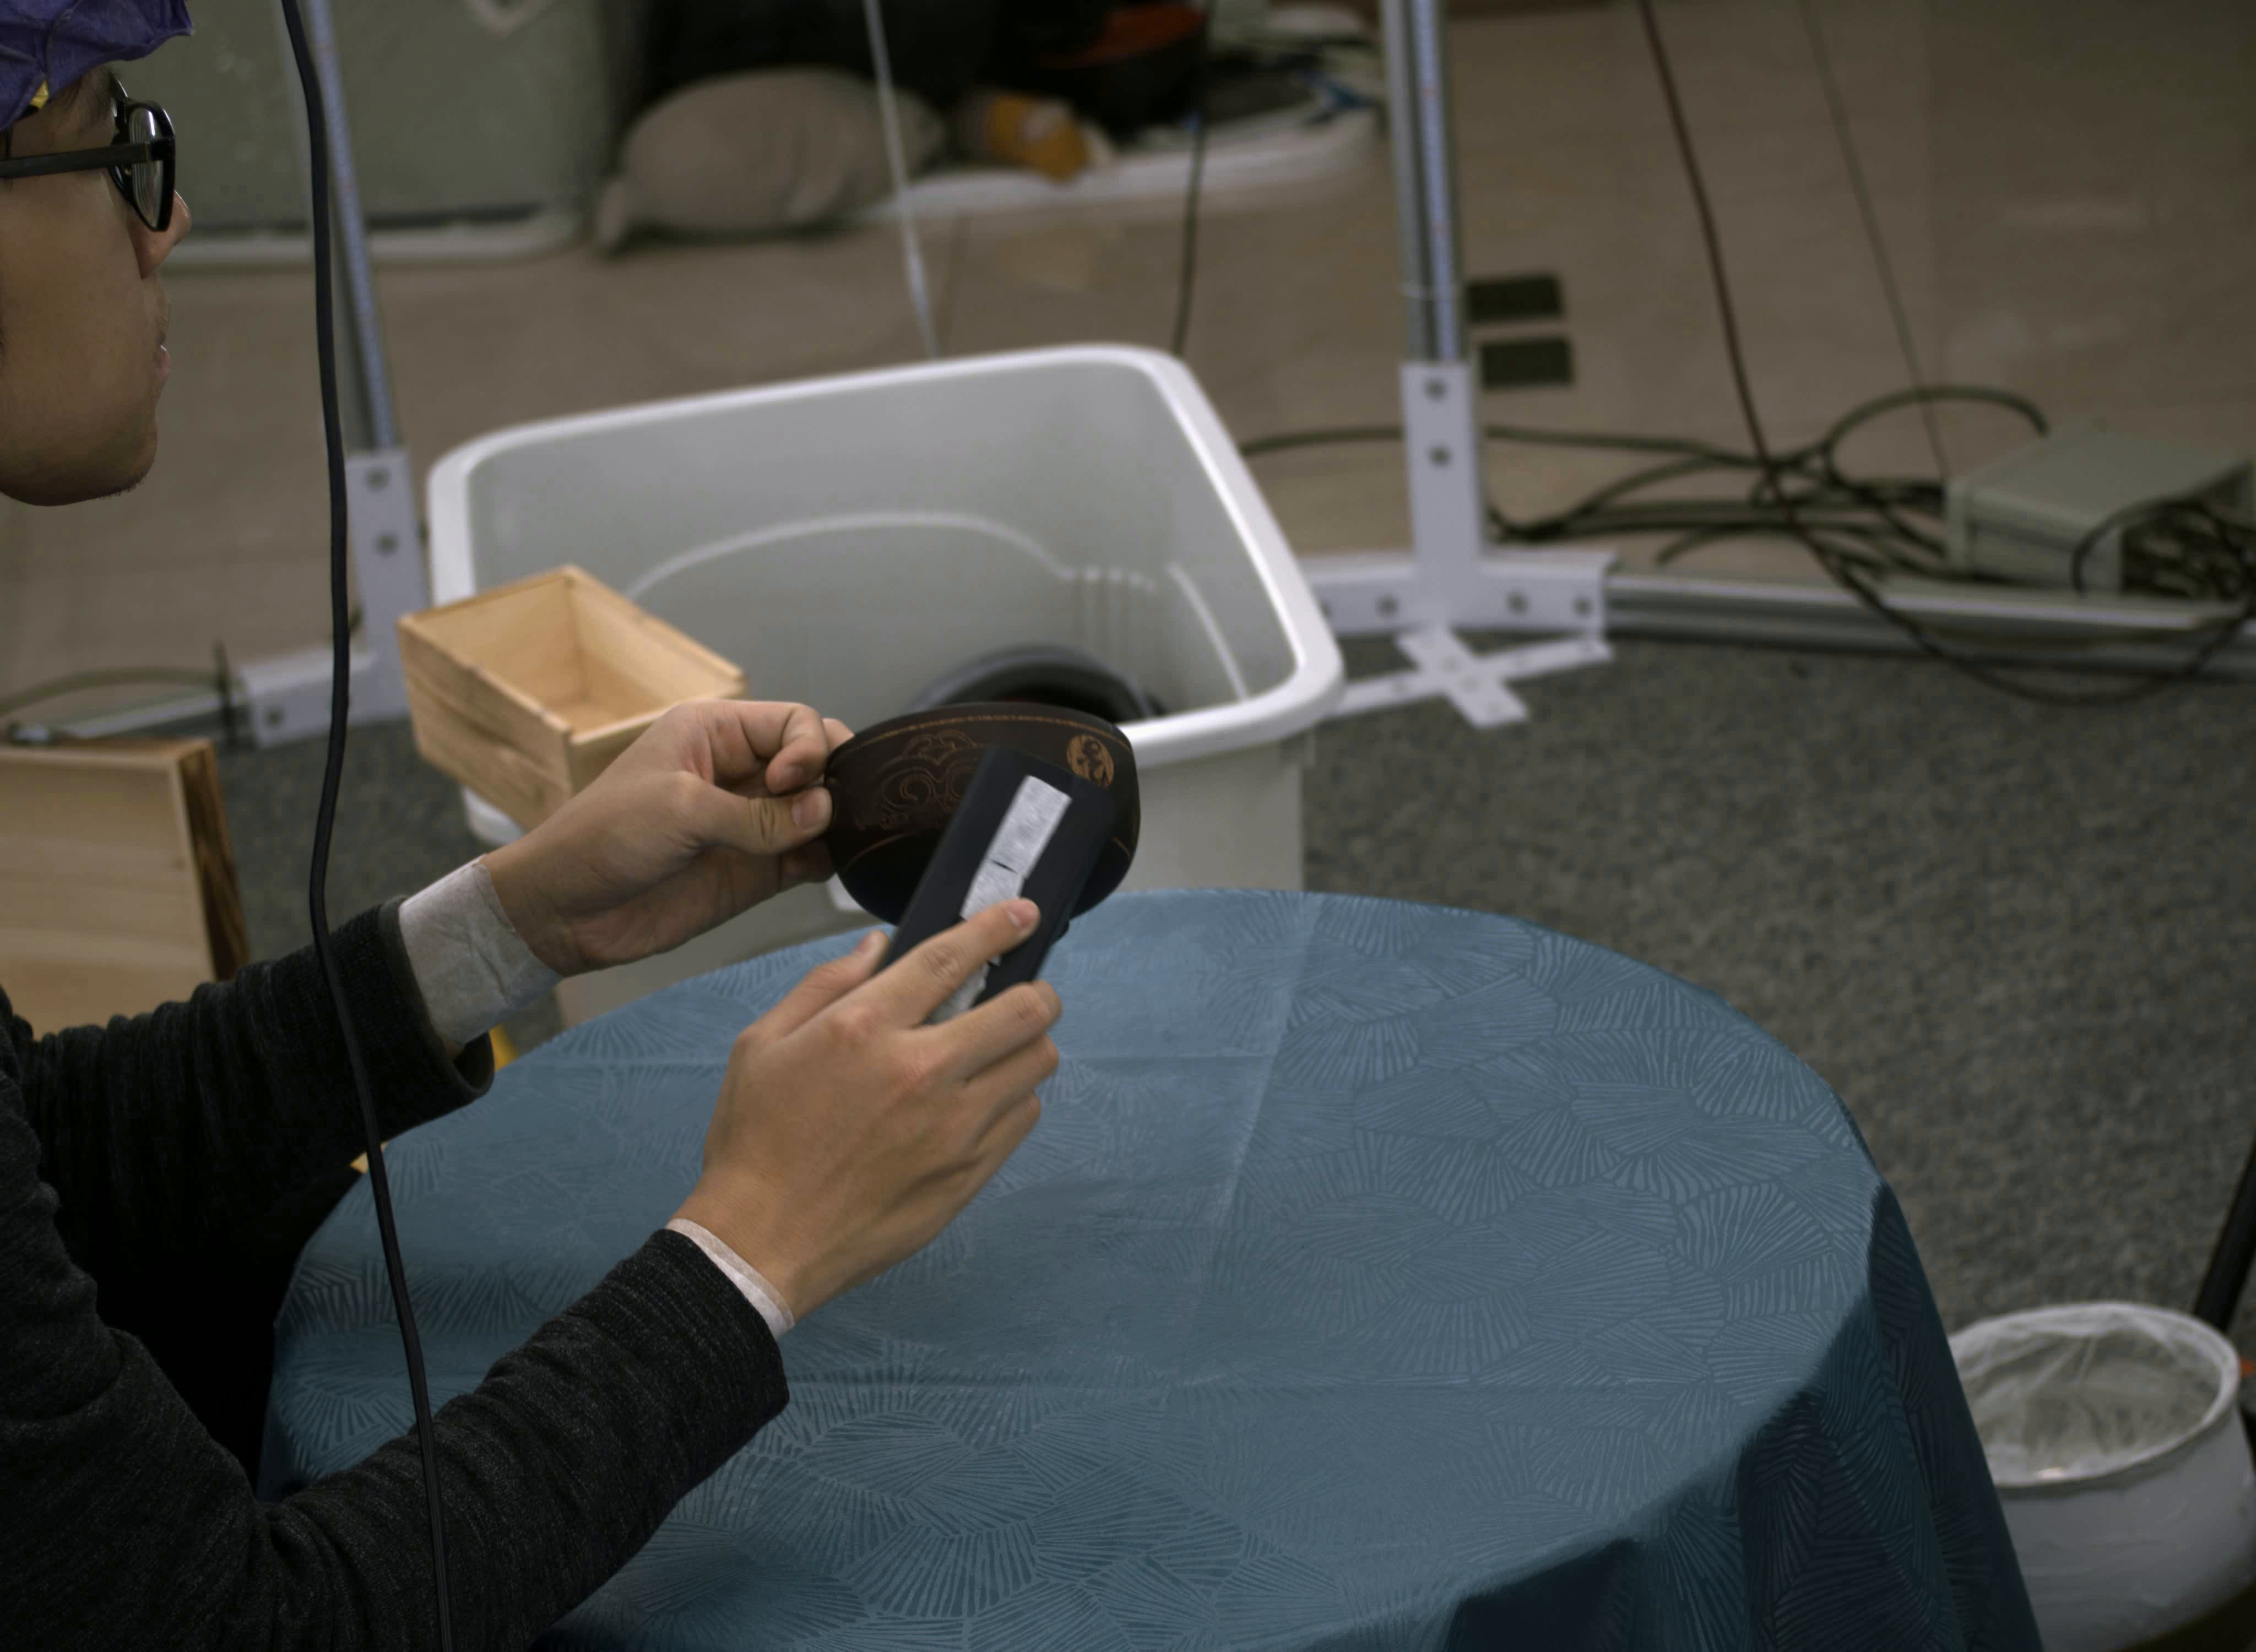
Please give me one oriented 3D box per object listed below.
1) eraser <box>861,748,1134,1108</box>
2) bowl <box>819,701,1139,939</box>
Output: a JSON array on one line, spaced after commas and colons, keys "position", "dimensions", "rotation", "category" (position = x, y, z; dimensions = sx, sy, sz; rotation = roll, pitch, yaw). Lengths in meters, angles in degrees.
[{"position": [-0.046, 0.035, 1.994], "dimensions": [0.053, 0.031, 0.124], "rotation": [24, 66, 2], "category": "eraser"}, {"position": [-0.054, 0.006, 2.083], "dimensions": [0.118, 0.069, 0.119], "rotation": [-3, -18, -1], "category": "bowl"}]
